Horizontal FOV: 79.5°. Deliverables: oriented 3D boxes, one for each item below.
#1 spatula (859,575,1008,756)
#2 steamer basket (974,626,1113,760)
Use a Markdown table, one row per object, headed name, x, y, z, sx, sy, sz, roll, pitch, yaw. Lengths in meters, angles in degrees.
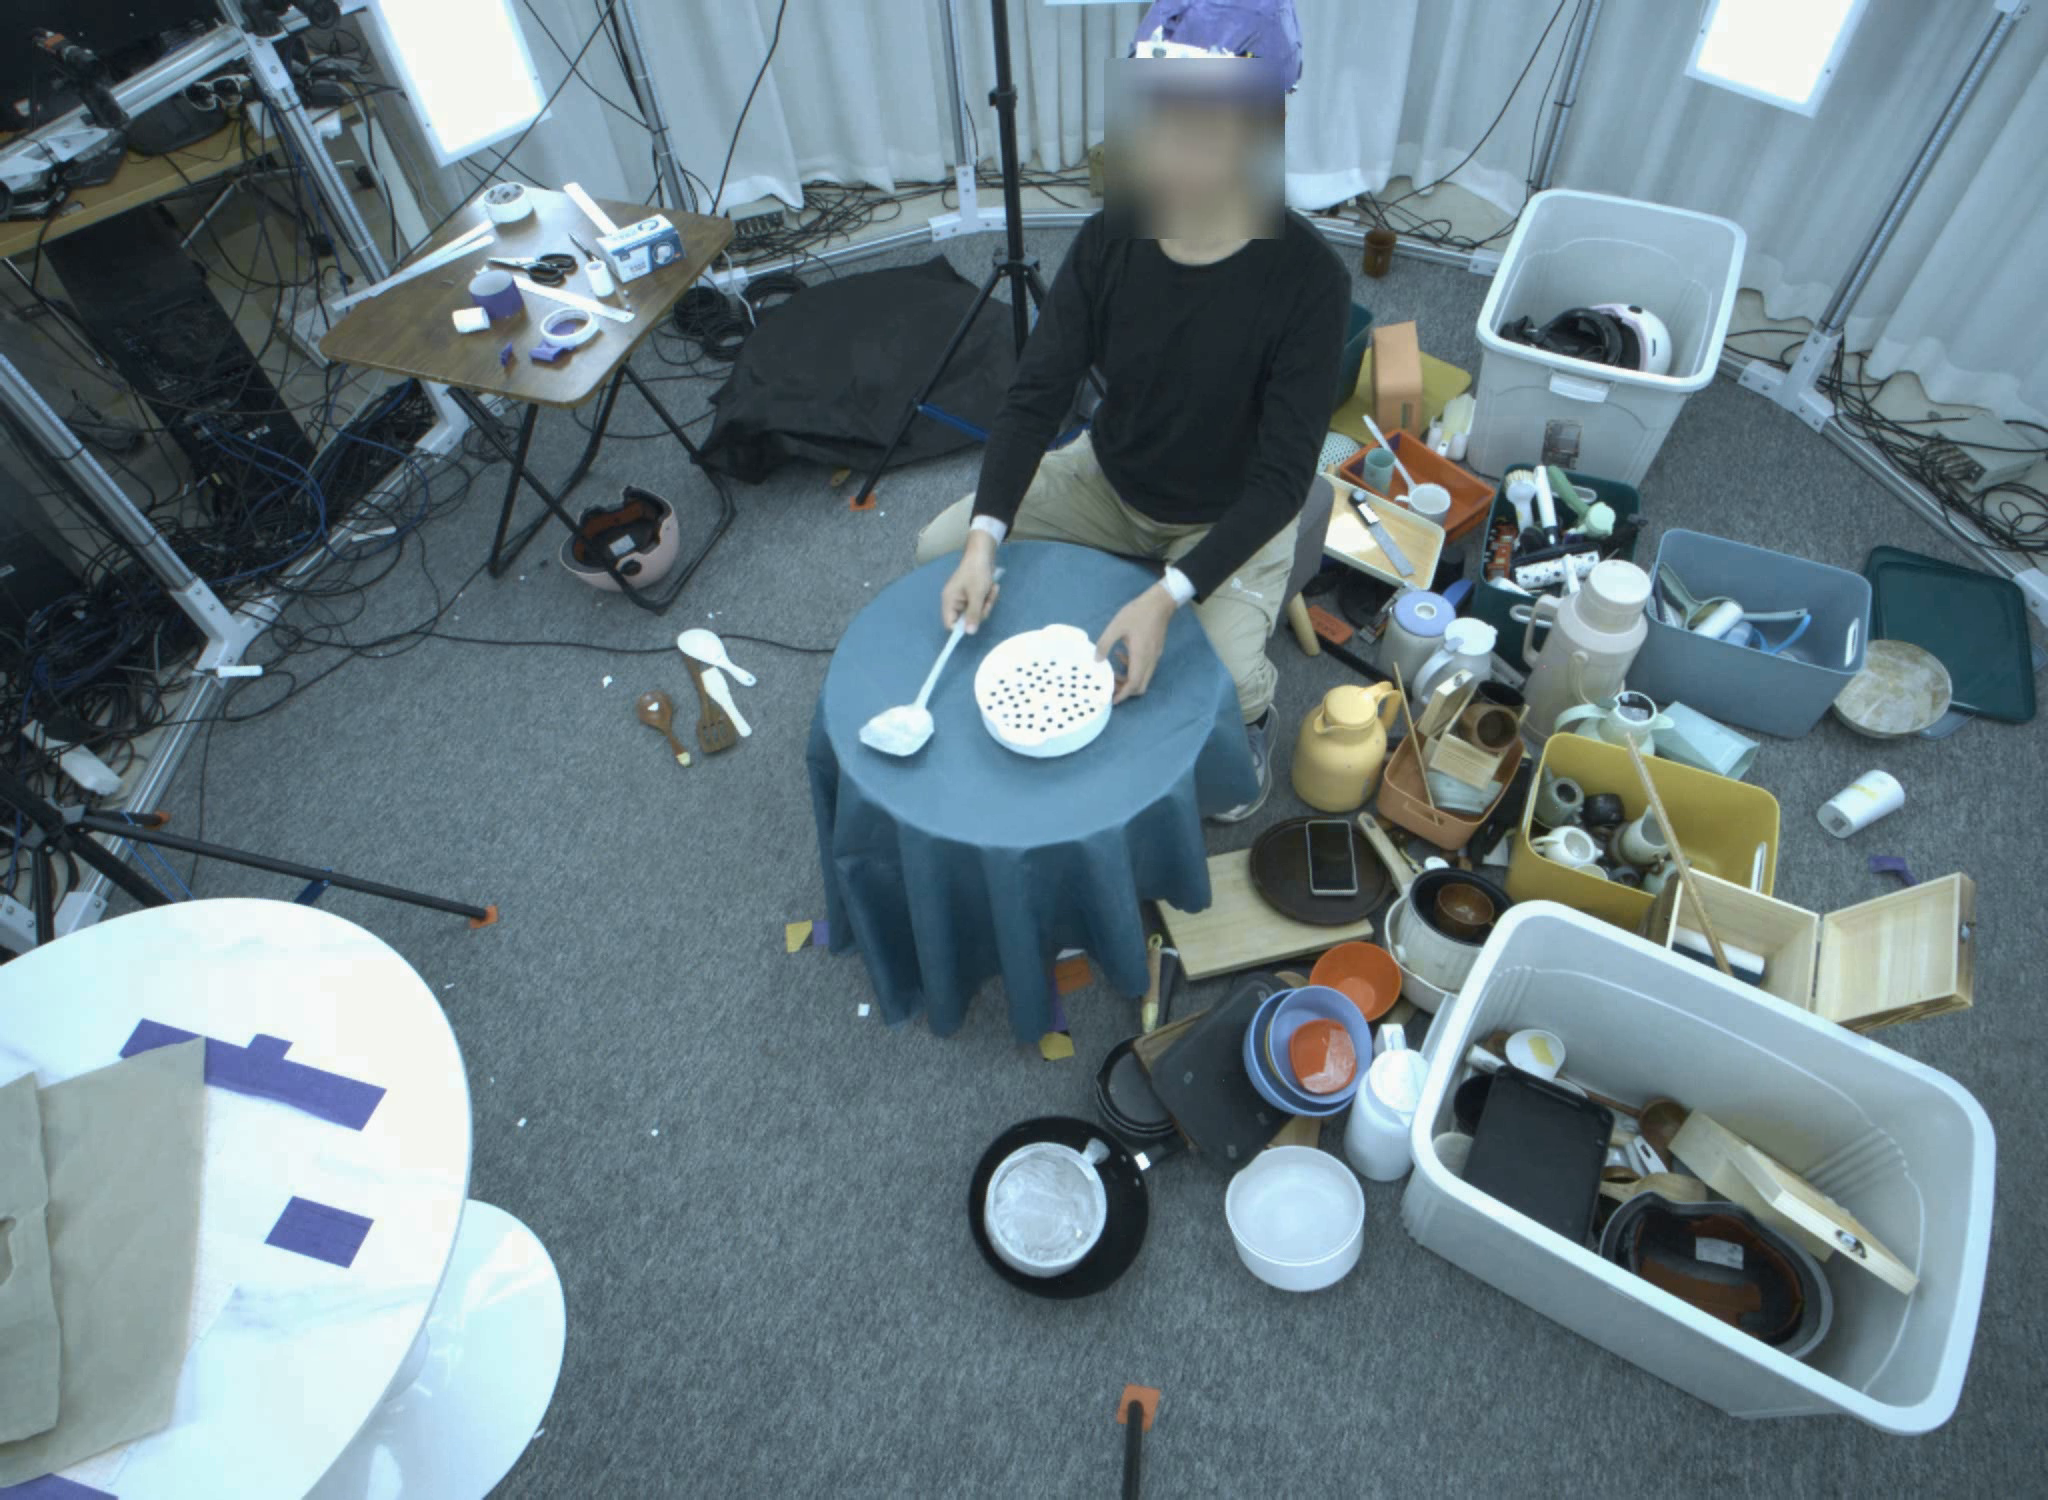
| name | x | y | z | sx | sy | sz | roll | pitch | yaw |
| --- | --- | --- | --- | --- | --- | --- | --- | --- | --- |
| spatula | -0.122 | -0.138 | 1.843 | 0.097 | 0.045 | 0.365 | 20 | 68 | 22 |
| steamer basket | 0.029 | -0.079 | 1.799 | 0.200 | 0.070 | 0.230 | 16 | 56 | 12 |
